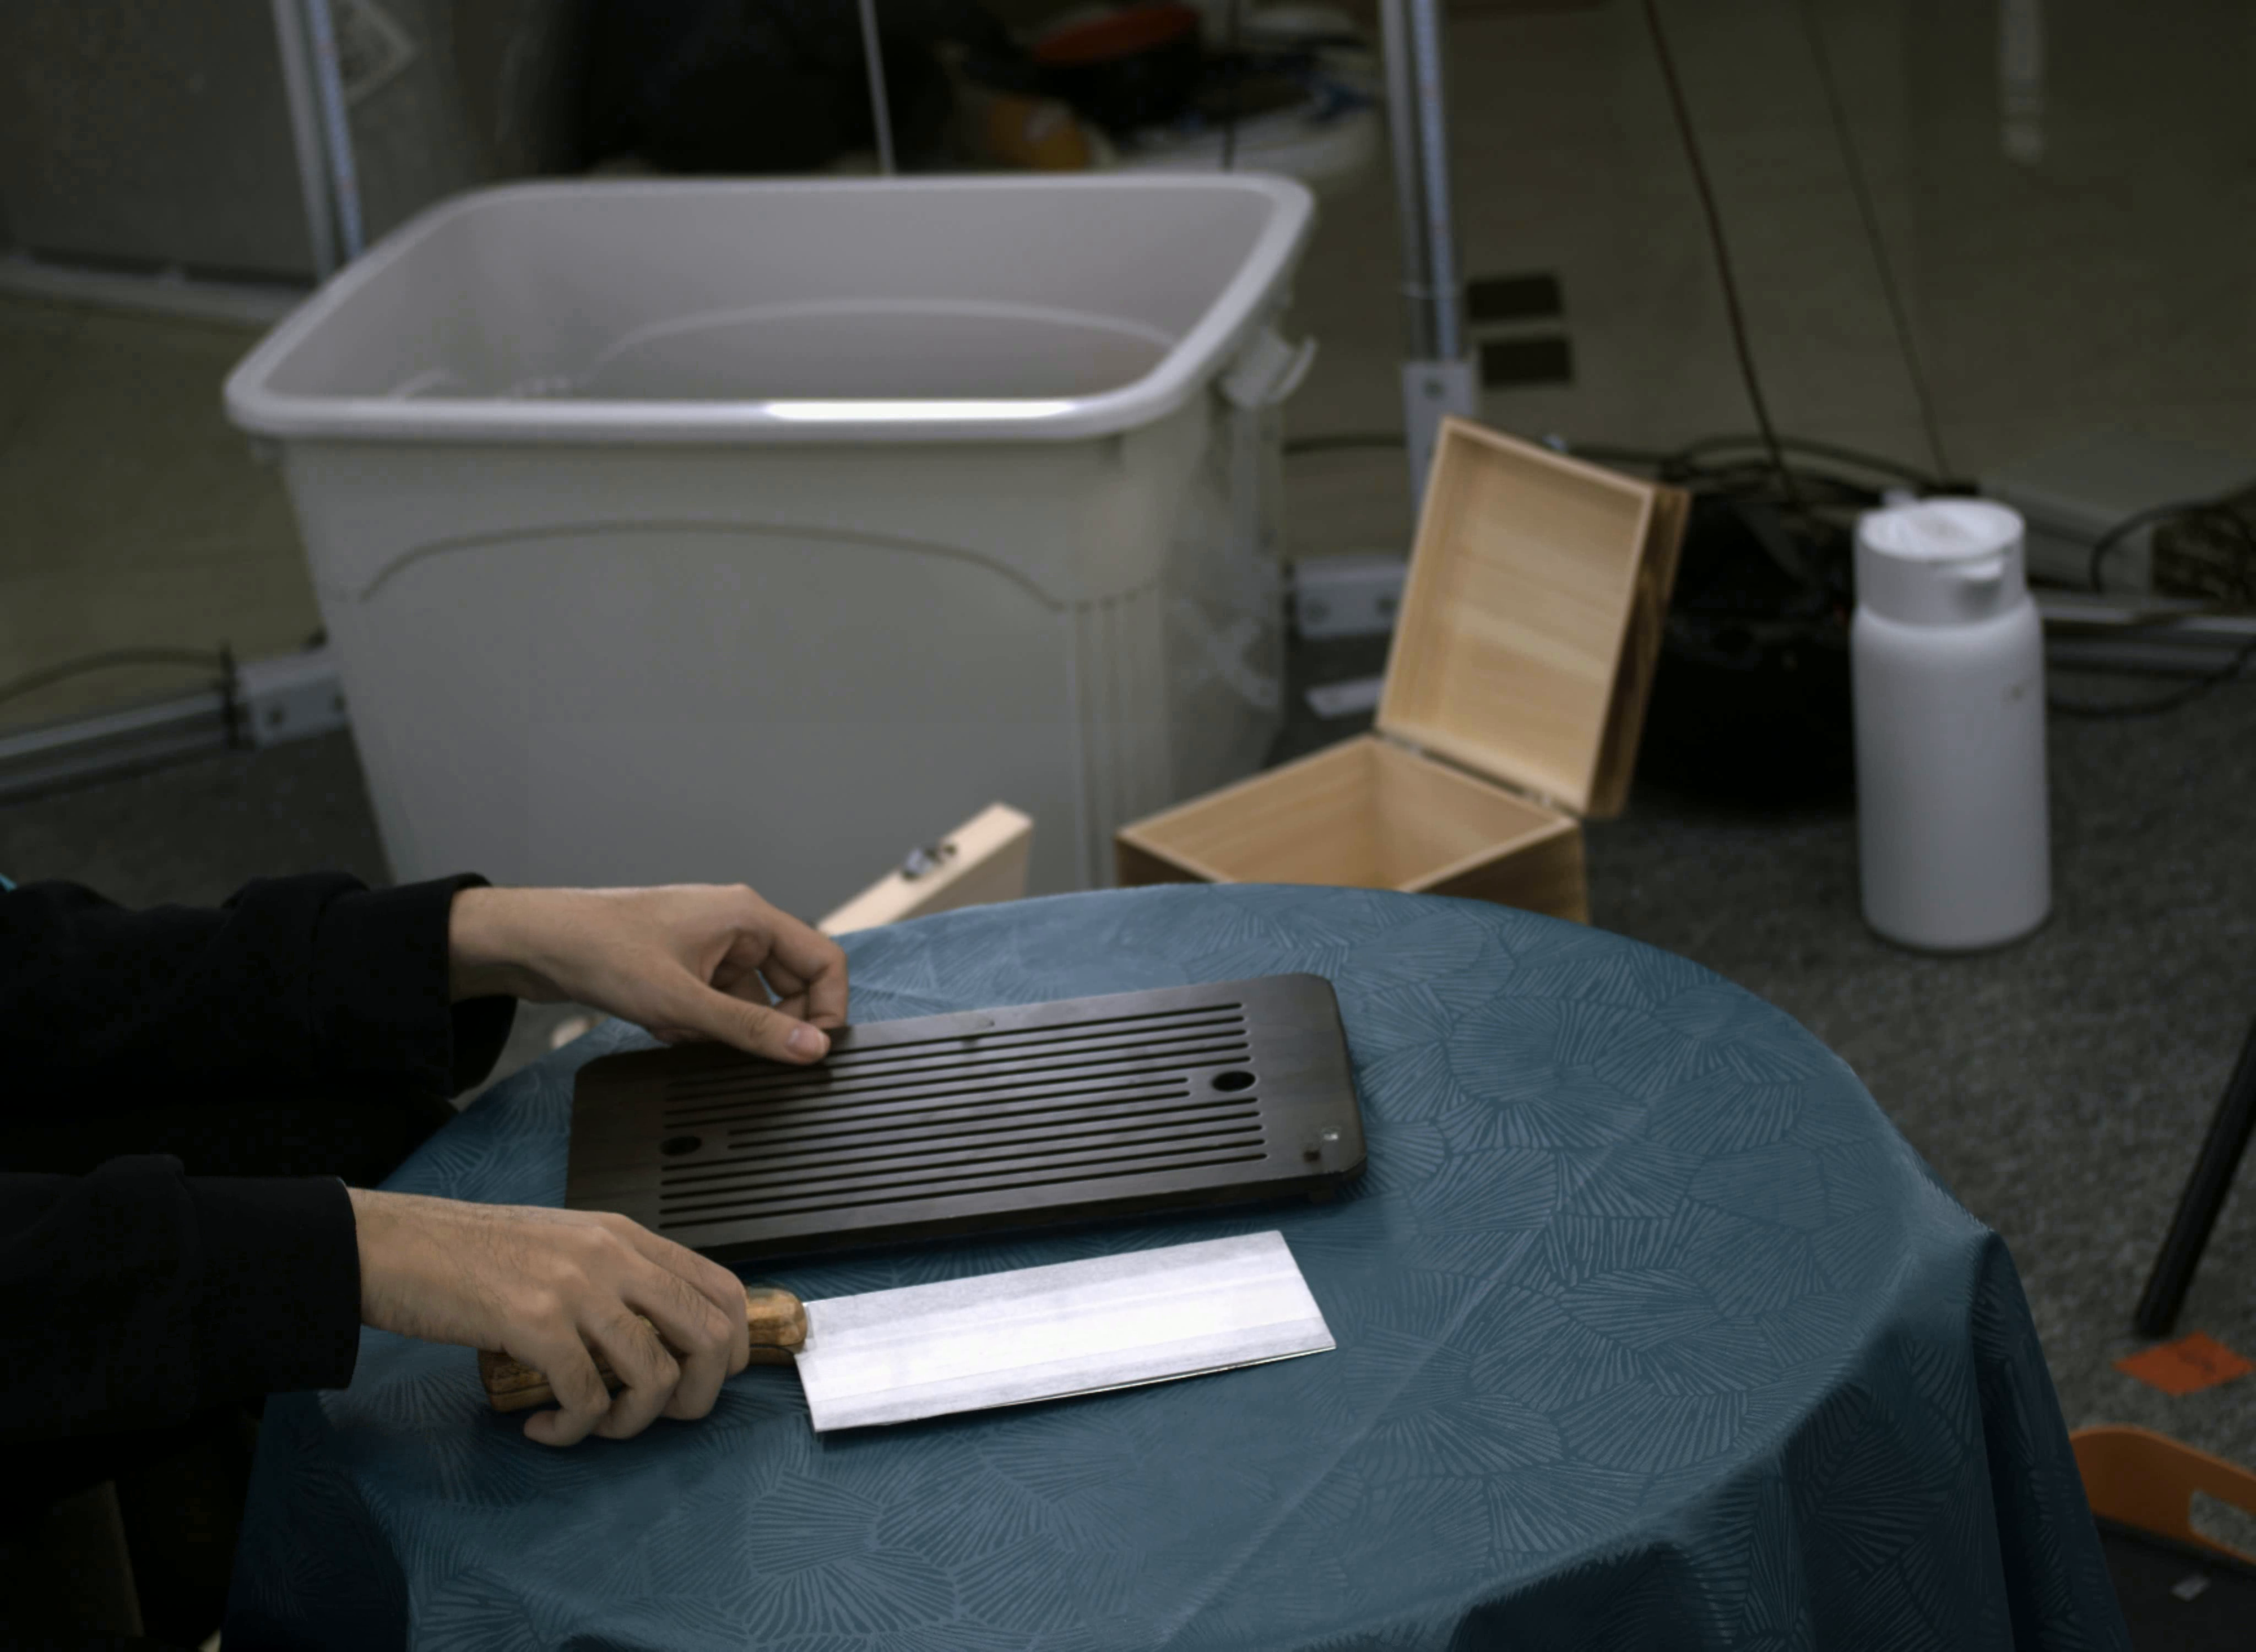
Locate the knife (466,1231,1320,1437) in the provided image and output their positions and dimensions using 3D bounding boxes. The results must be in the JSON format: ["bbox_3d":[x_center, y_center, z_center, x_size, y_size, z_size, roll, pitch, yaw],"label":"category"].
[{"bbox_3d":[-0.083,0.189,2.042,0.305,0.021,0.091,-8,26,-9],"label":"knife"}]

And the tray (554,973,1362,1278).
[{"bbox_3d":[-0.067,0.116,2.191,0.305,0.019,0.167,-6,25,0],"label":"tray"}]
